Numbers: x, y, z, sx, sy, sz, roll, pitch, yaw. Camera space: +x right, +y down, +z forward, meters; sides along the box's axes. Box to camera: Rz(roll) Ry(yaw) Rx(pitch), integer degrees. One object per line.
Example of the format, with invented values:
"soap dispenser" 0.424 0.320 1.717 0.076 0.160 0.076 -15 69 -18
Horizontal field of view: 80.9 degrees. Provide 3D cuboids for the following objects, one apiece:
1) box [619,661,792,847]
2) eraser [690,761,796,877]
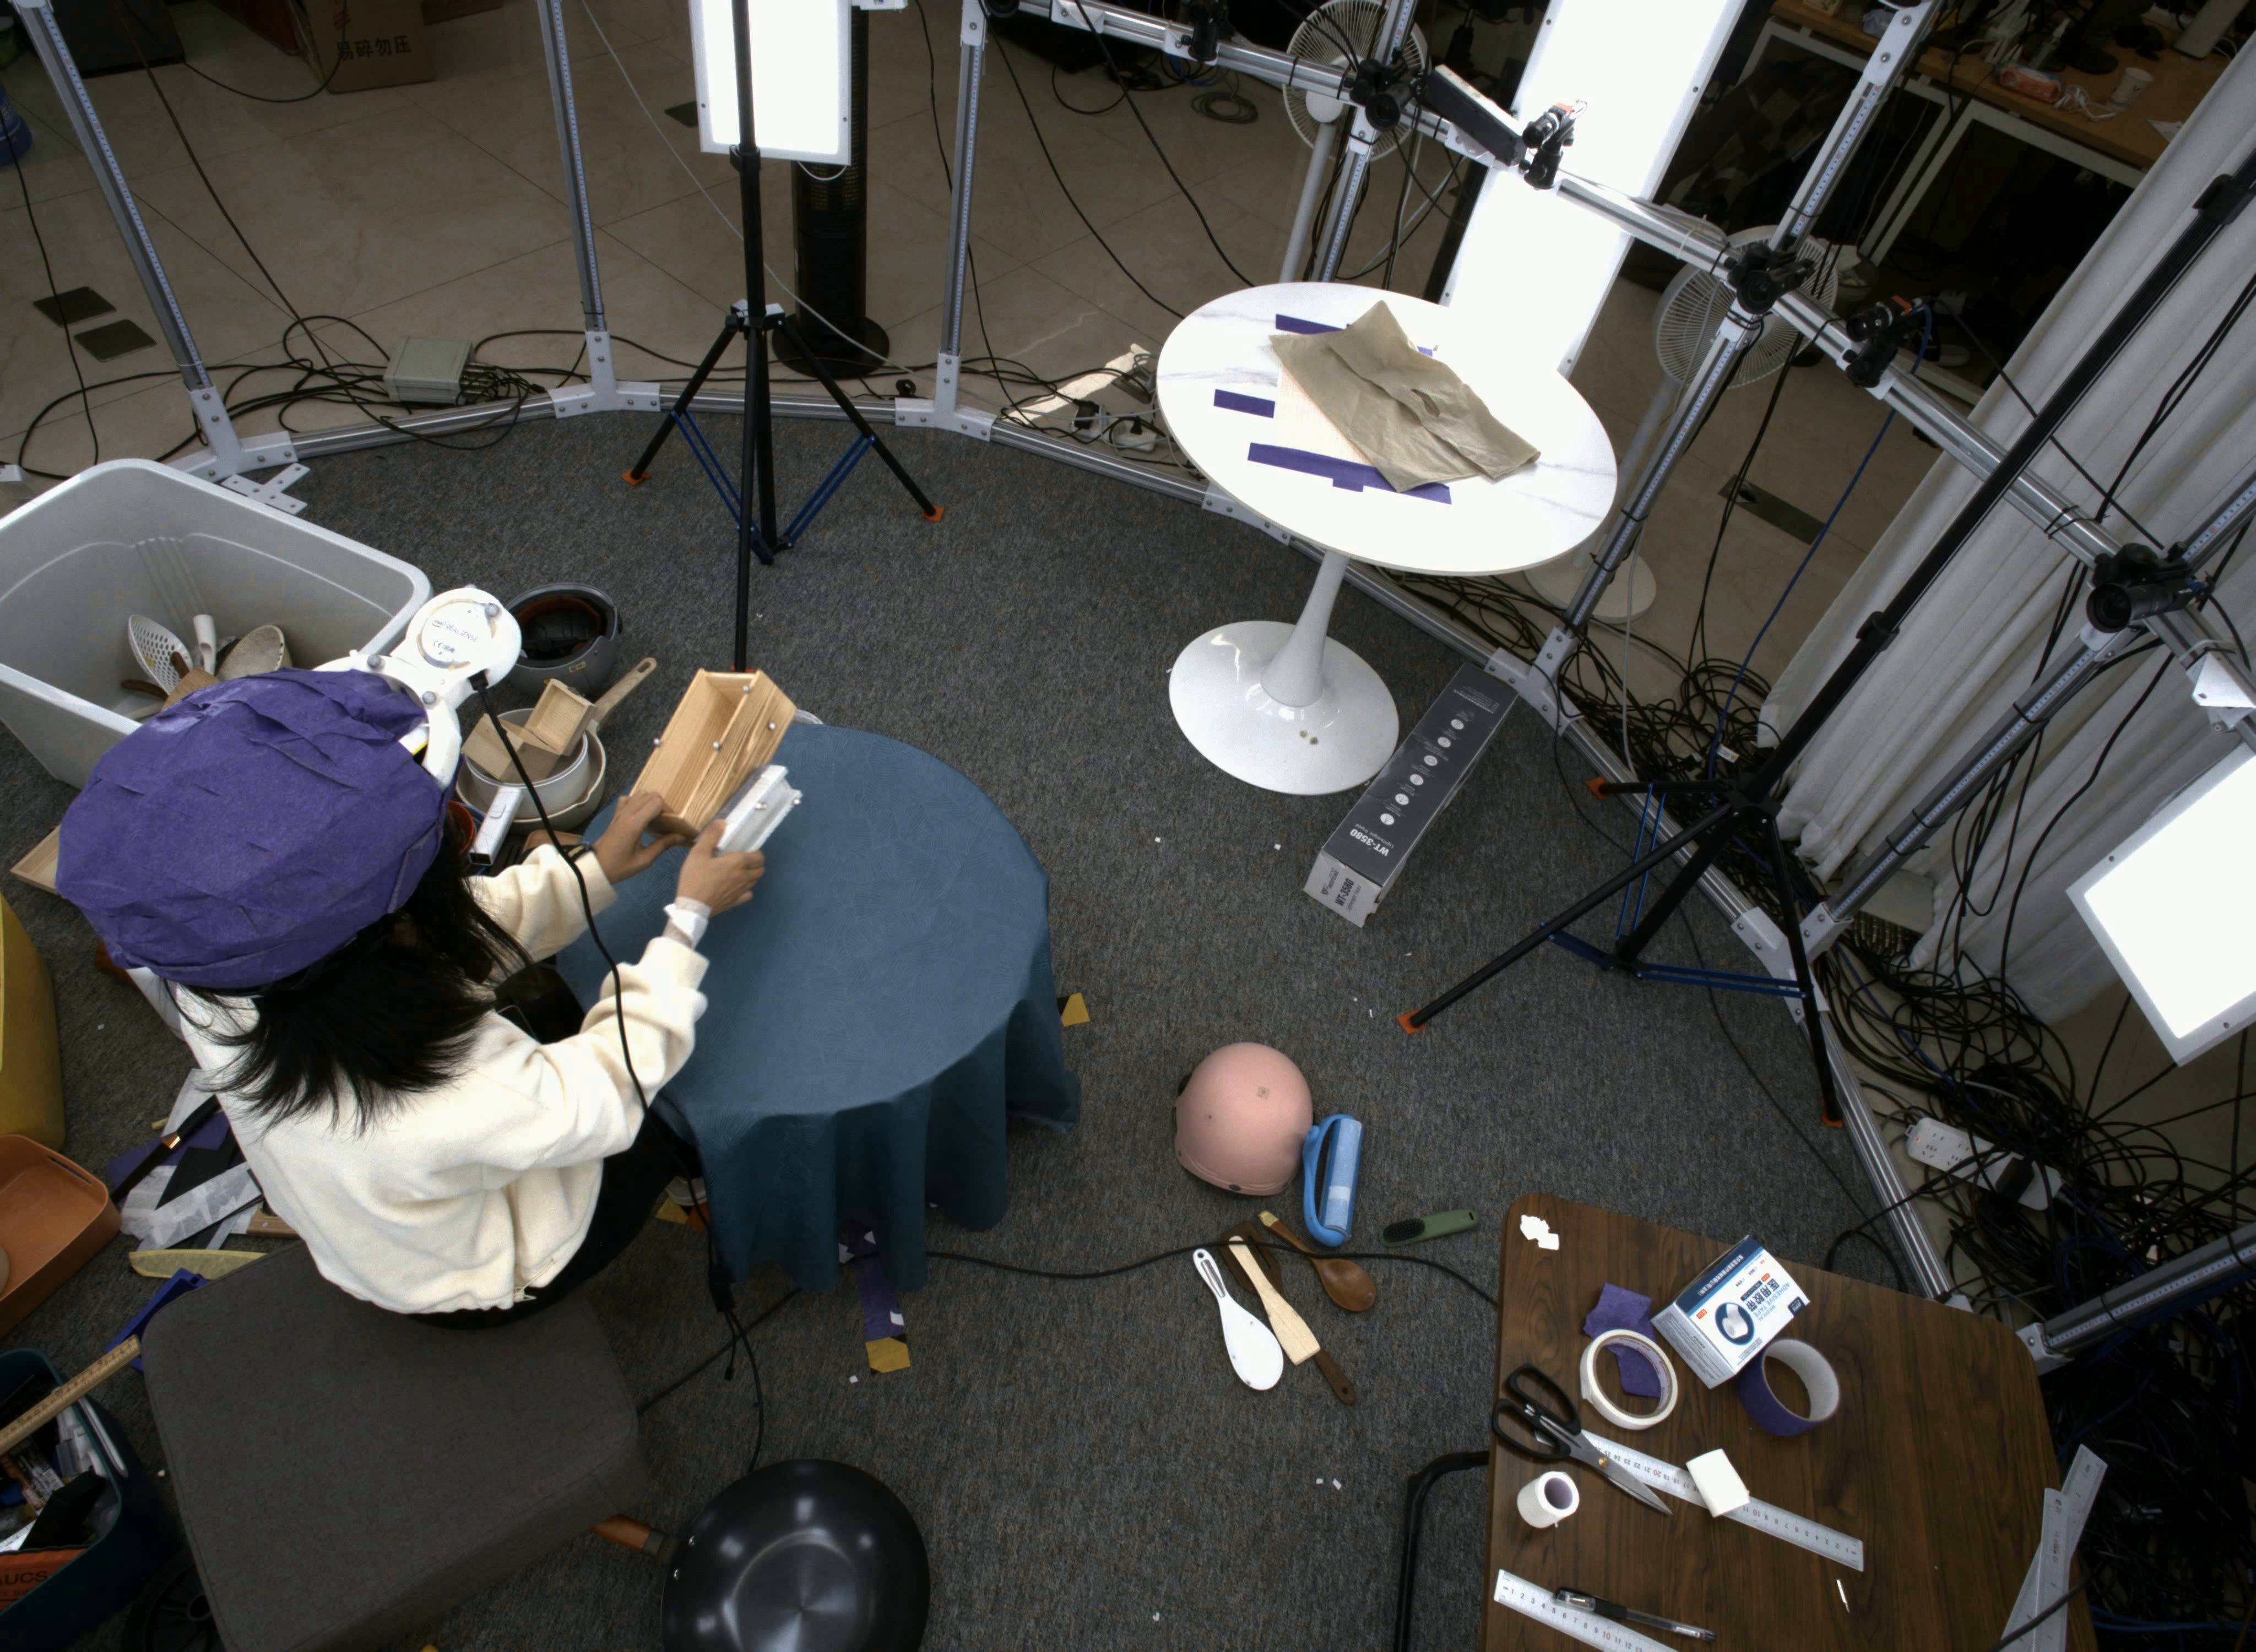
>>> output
"box" -0.504 -0.087 1.540 0.104 0.083 0.210 4 61 27
"eraser" -0.447 -0.011 1.497 0.045 0.051 0.133 10 54 27
